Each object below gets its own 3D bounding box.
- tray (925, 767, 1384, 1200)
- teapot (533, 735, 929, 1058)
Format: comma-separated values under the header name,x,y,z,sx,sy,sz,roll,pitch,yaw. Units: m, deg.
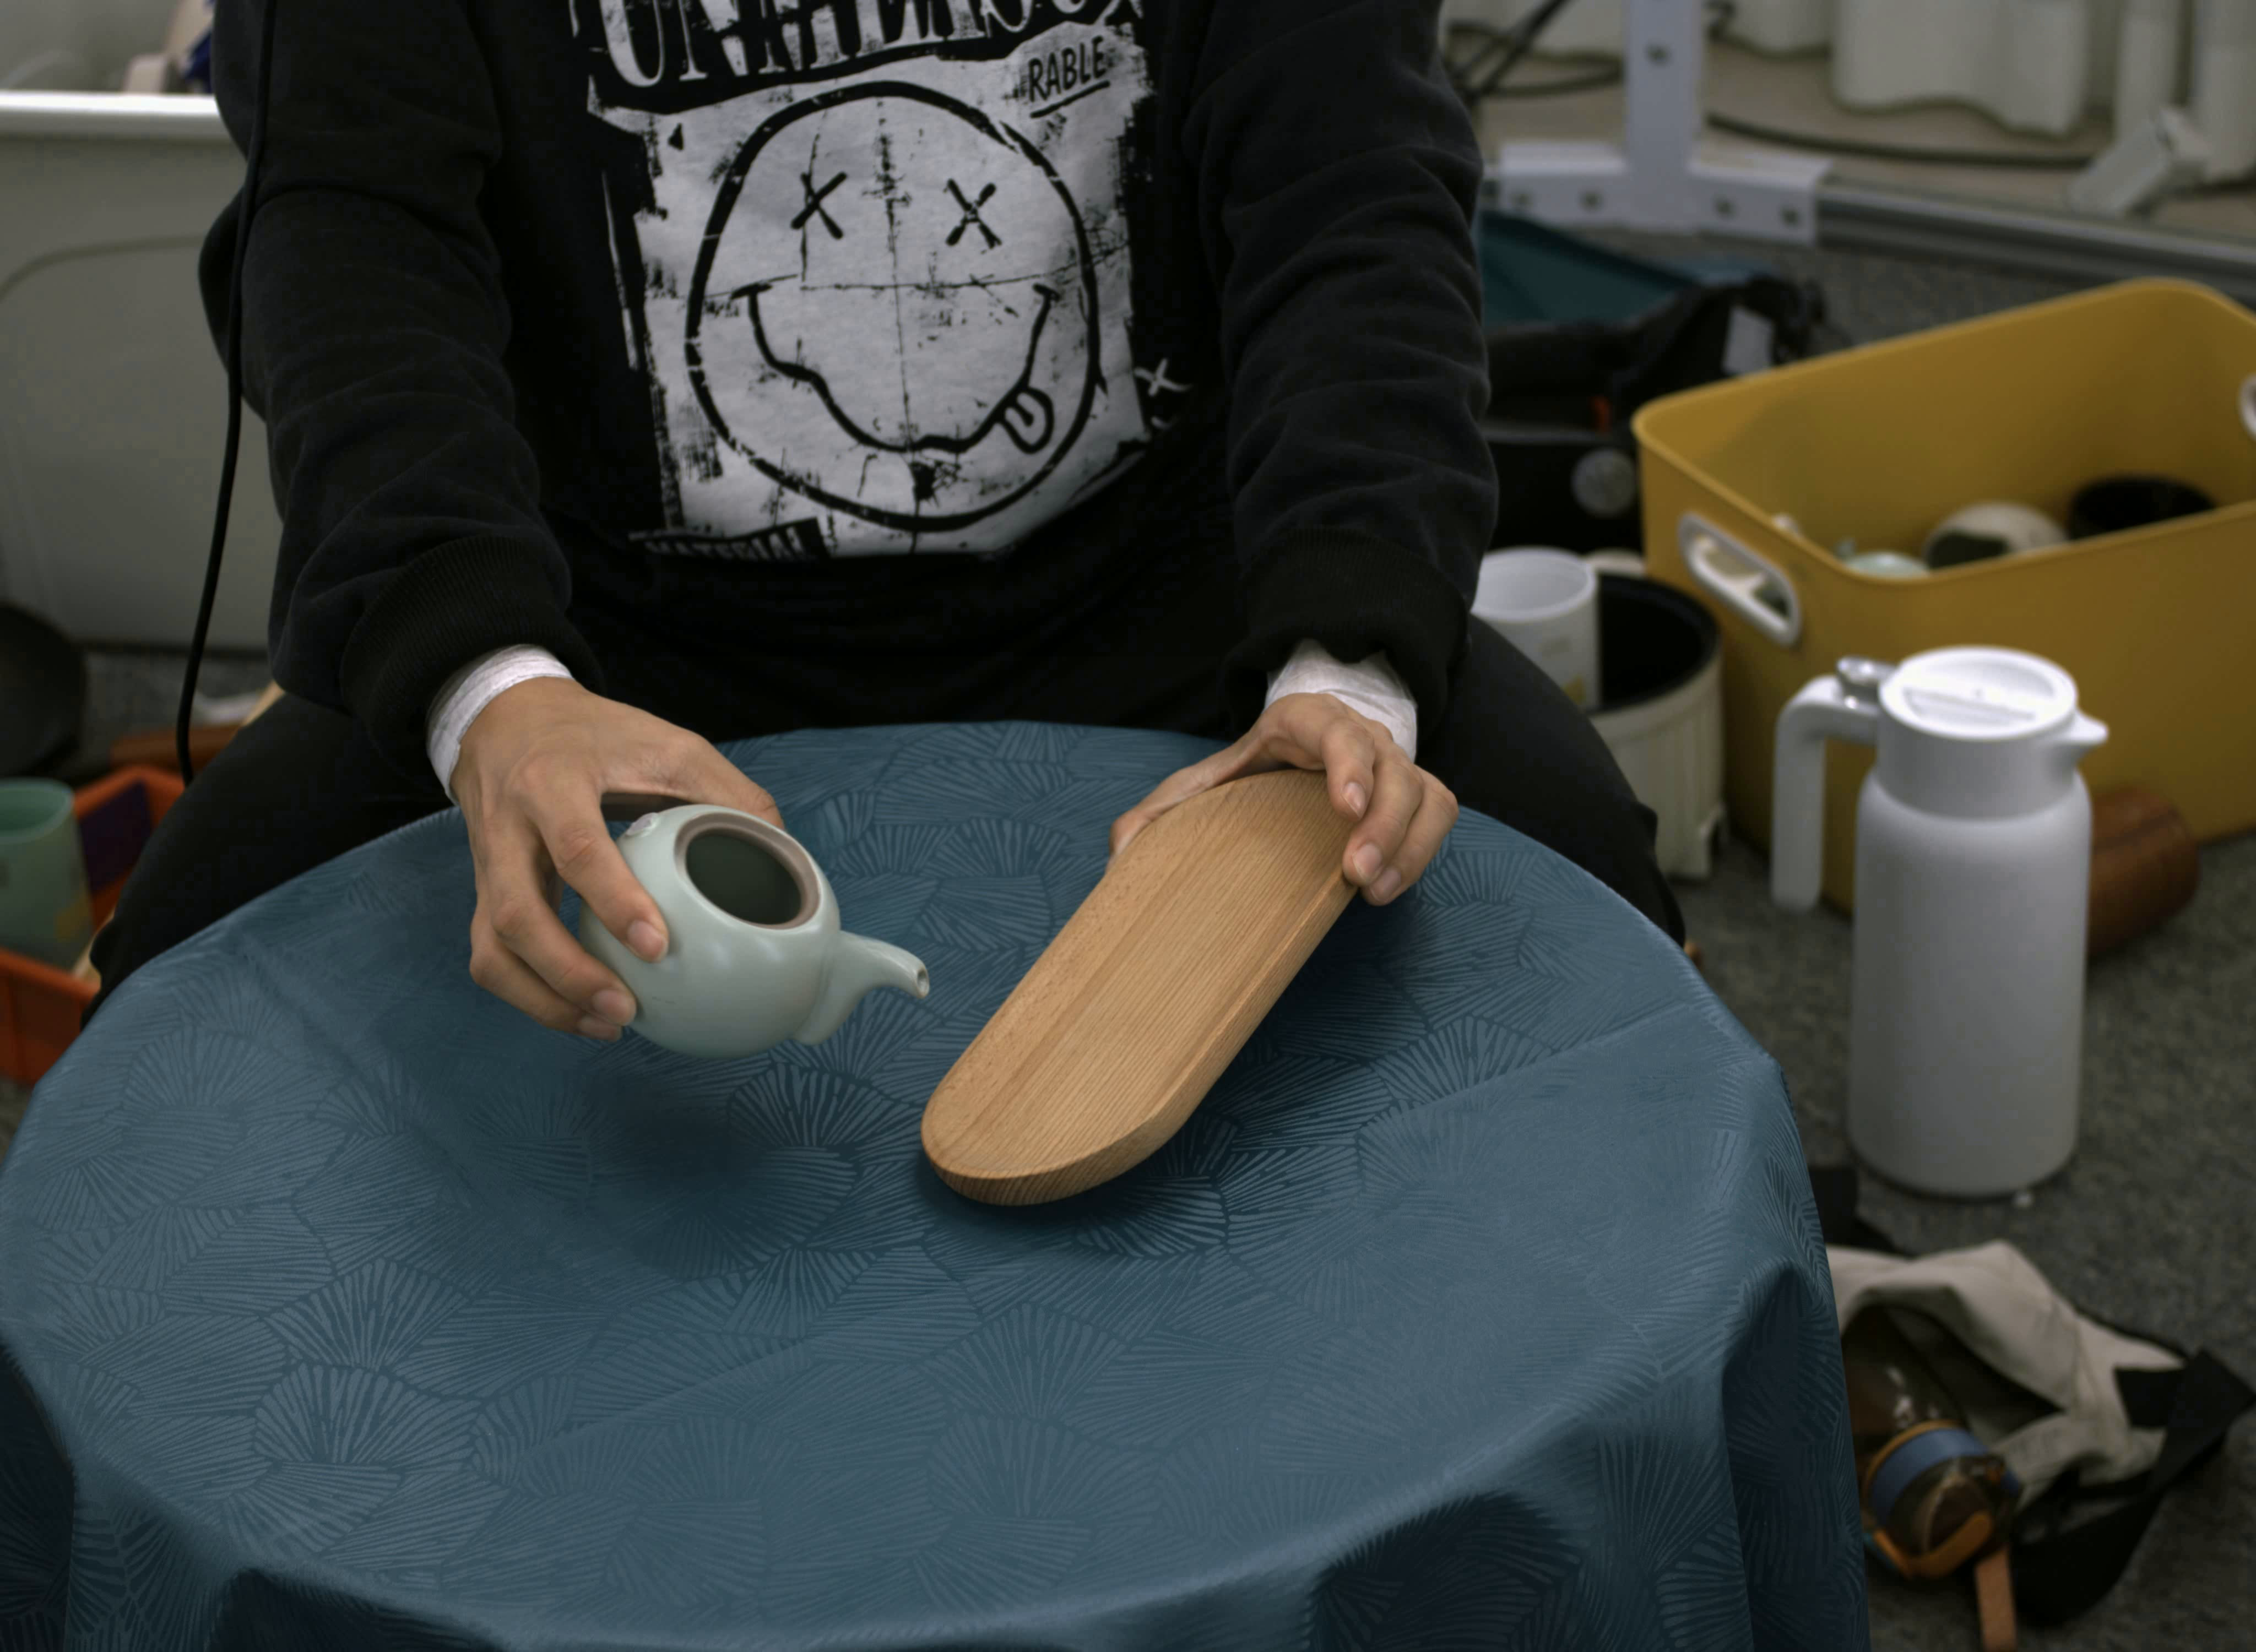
name,x,y,z,sx,sy,sz,roll,pitch,yaw
tray,0.011,0.052,1.917,0.101,0.020,0.235,0,34,34
teapot,-0.139,0.034,1.863,0.143,0.073,0.090,36,32,0
